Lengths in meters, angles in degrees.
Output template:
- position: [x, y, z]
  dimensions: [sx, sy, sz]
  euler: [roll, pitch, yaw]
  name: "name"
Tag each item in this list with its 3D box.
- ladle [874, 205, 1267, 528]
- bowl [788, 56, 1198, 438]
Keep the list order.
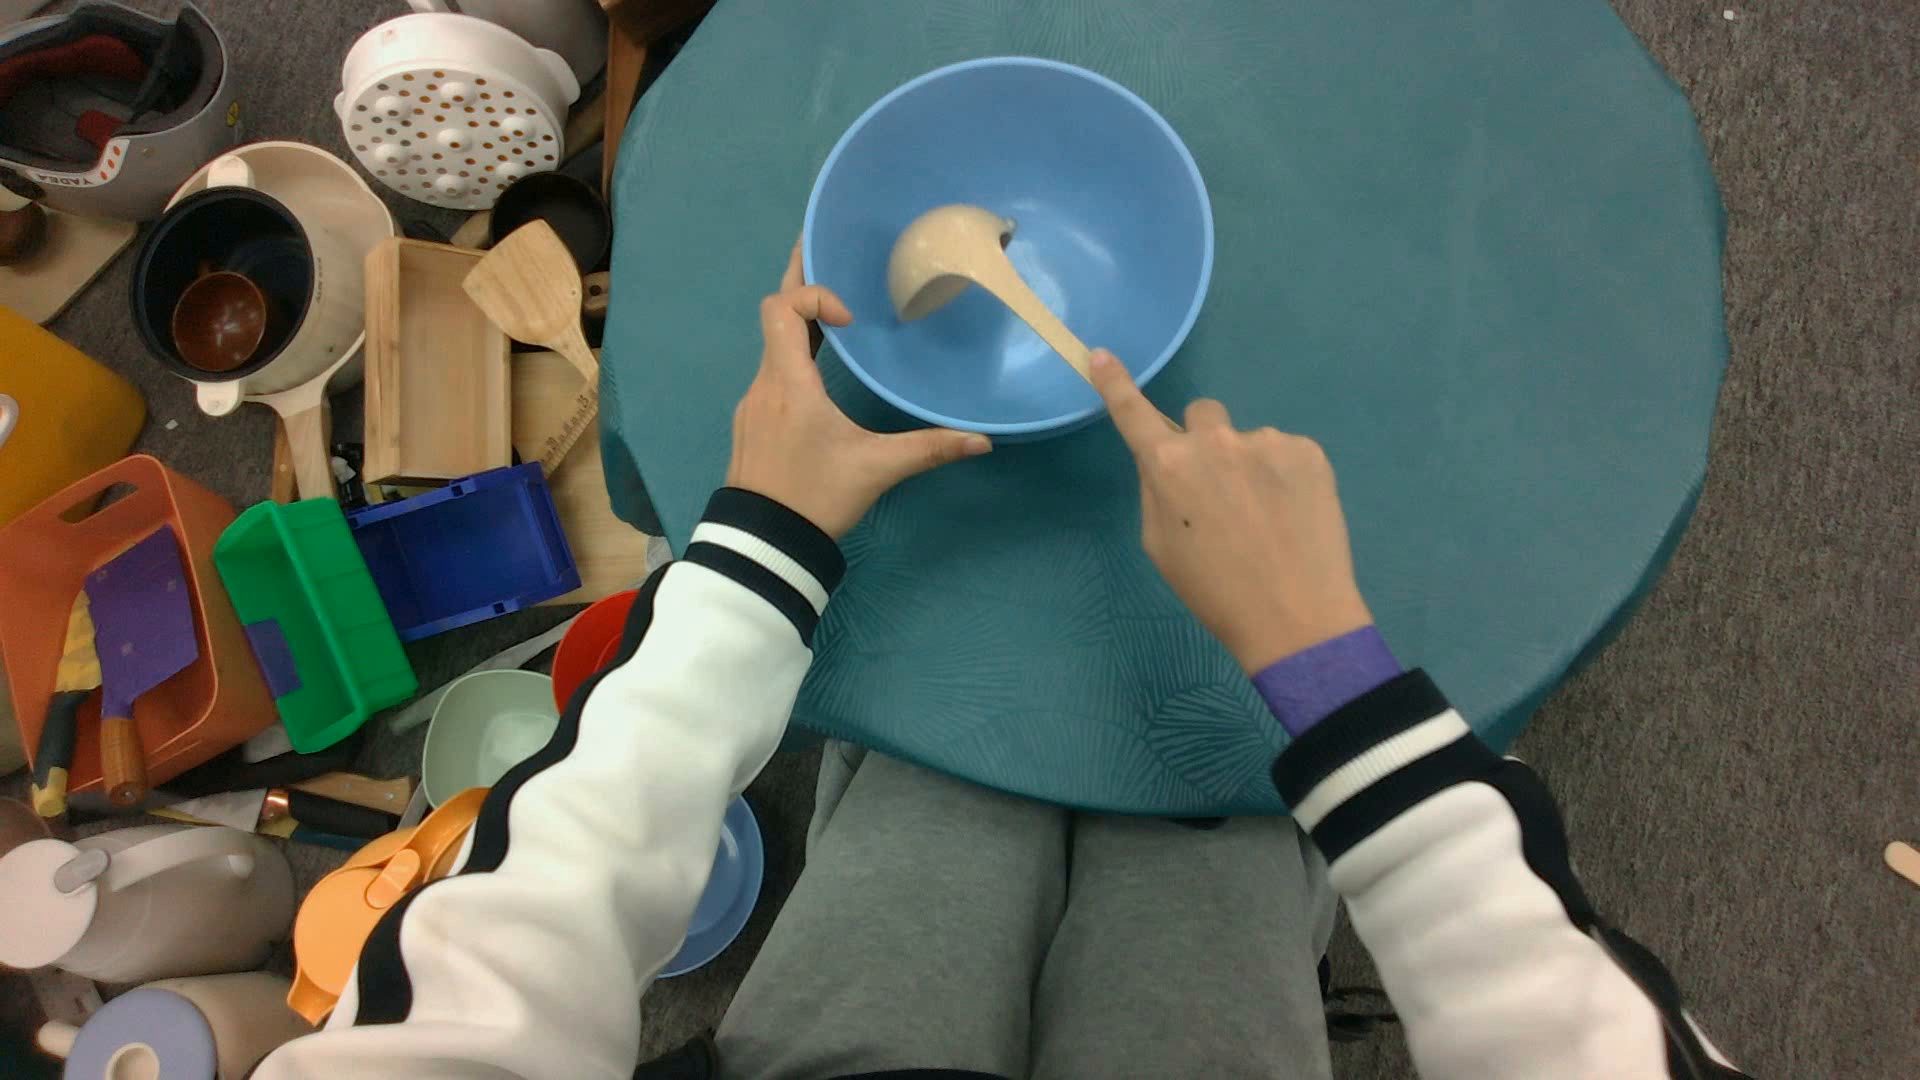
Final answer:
- position: [0.050, -0.071, 0.653]
  dimensions: [0.072, 0.072, 0.255]
  euler: [-34, 62, -16]
  name: "ladle"
- position: [0.016, -0.135, 0.702]
  dimensions: [0.196, 0.095, 0.197]
  euler: [0, 75, 0]
  name: "bowl"
